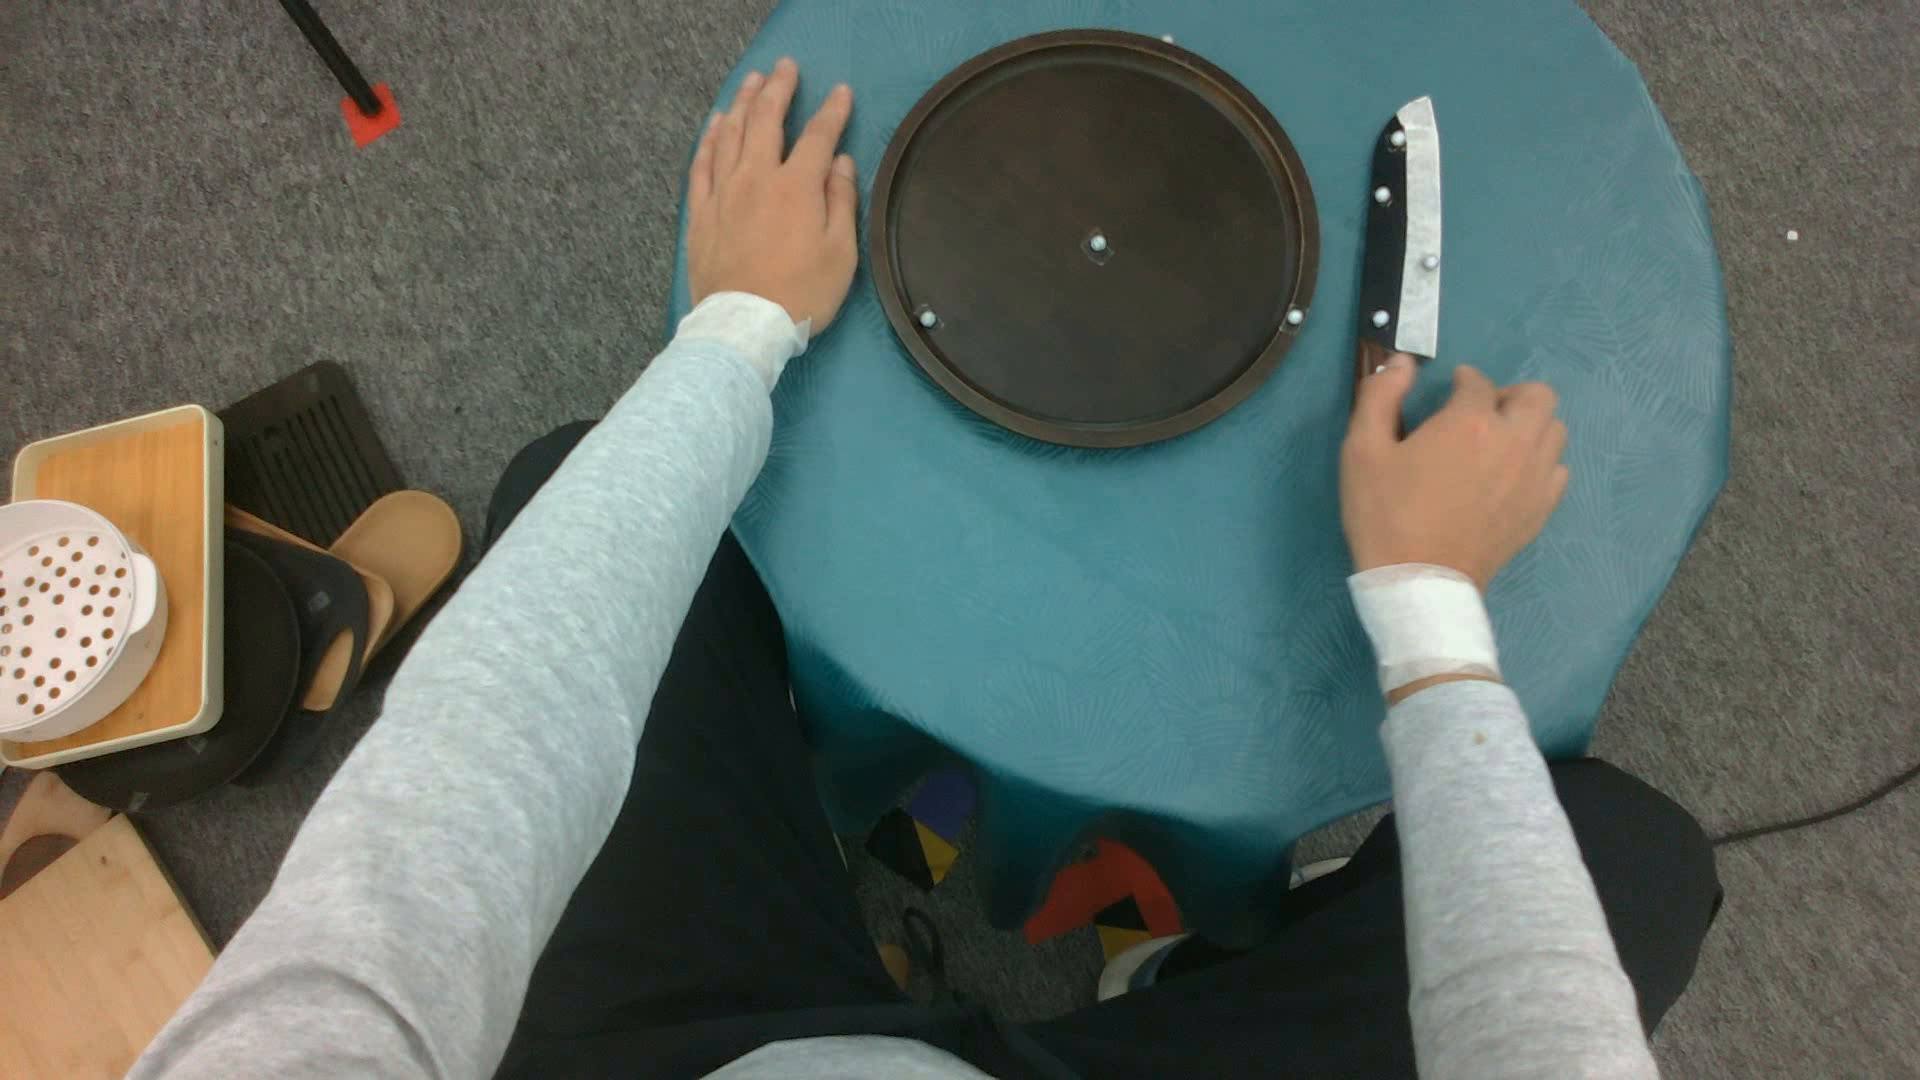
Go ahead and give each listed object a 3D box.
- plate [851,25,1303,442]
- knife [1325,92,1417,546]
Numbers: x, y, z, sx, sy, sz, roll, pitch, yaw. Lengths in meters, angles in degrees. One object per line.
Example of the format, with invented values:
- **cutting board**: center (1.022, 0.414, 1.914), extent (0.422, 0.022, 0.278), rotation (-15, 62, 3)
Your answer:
- **plate**: center (0.065, -0.175, 0.775), extent (0.255, 0.029, 0.255), rotation (1, 76, -4)
- **knife**: center (0.233, -0.132, 0.776), extent (0.050, 0.020, 0.290), rotation (12, 72, -4)
